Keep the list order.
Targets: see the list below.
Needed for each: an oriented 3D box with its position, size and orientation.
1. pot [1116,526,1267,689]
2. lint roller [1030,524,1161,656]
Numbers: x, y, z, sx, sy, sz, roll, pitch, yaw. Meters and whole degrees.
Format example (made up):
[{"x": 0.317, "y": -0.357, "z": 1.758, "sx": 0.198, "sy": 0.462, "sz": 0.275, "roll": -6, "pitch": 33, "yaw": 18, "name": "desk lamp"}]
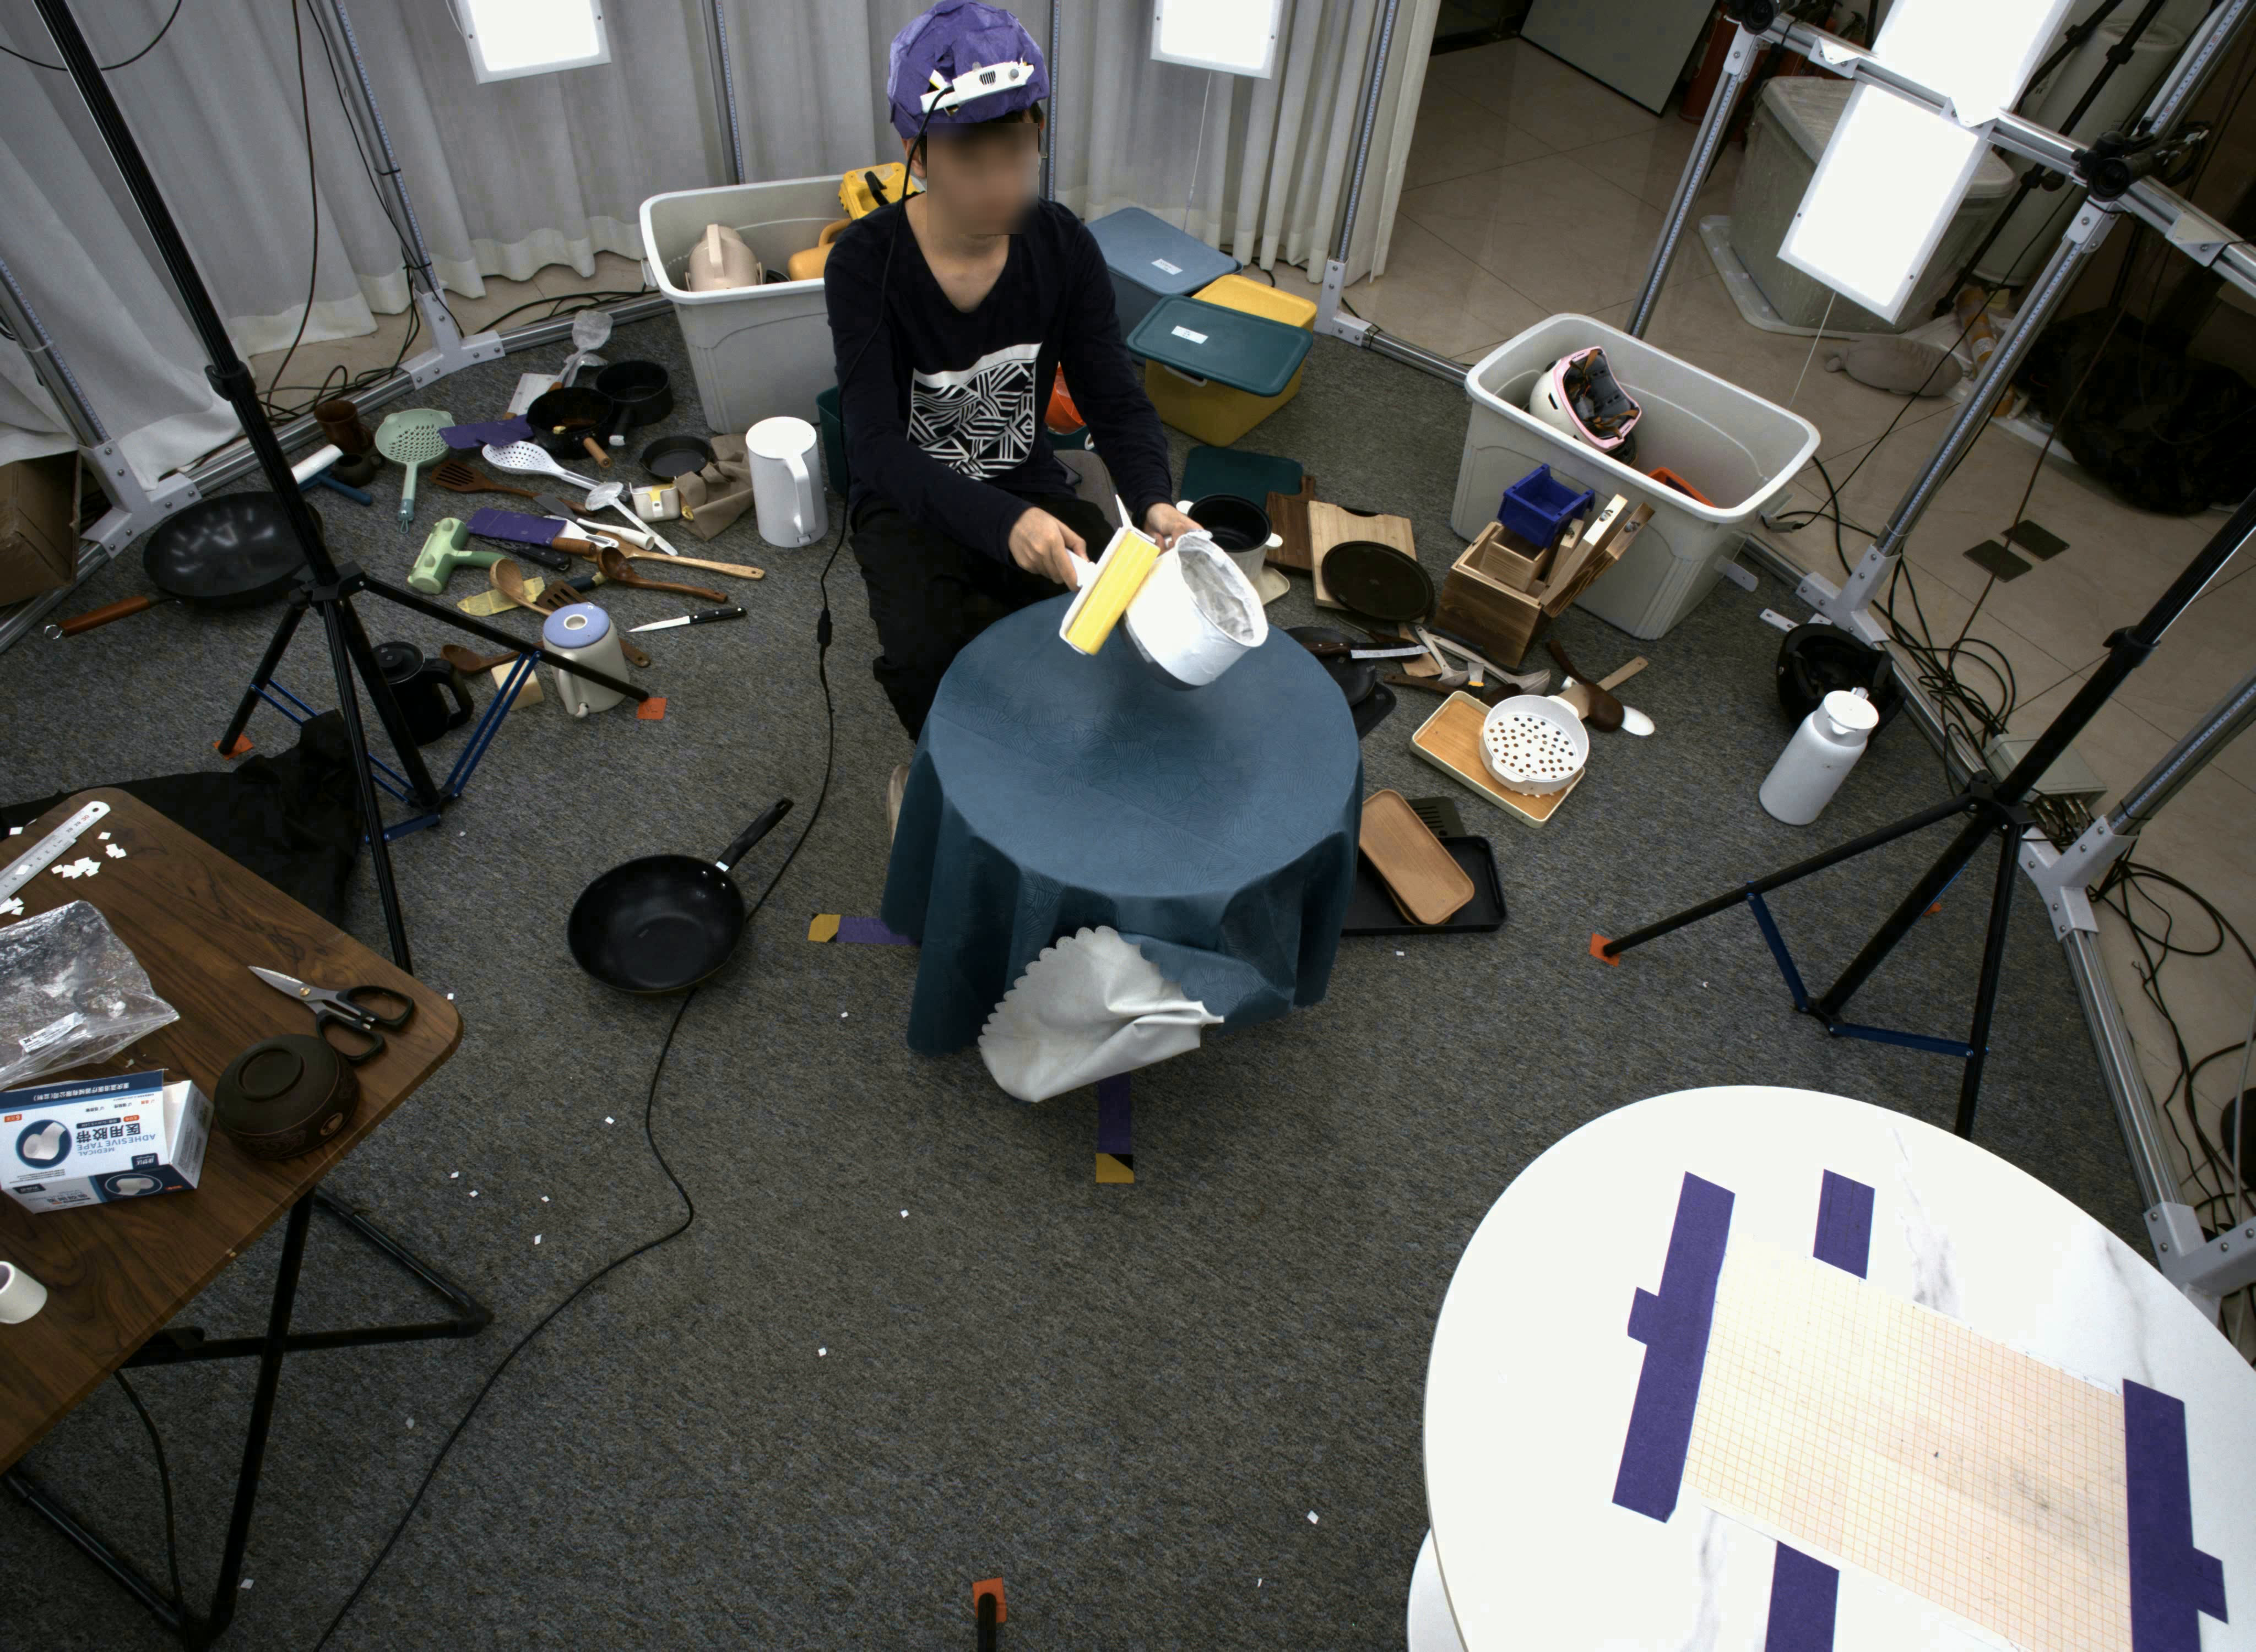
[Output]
[{"x": 0.075, "y": -0.306, "z": 1.722, "sx": 0.176, "sy": 0.135, "sz": 0.239, "roll": 23, "pitch": 47, "yaw": -42, "name": "pot"}, {"x": -0.070, "y": -0.337, "z": 1.691, "sx": 0.195, "sy": 0.051, "sz": 0.173, "roll": 36, "pitch": 99, "yaw": 28, "name": "lint roller"}]
